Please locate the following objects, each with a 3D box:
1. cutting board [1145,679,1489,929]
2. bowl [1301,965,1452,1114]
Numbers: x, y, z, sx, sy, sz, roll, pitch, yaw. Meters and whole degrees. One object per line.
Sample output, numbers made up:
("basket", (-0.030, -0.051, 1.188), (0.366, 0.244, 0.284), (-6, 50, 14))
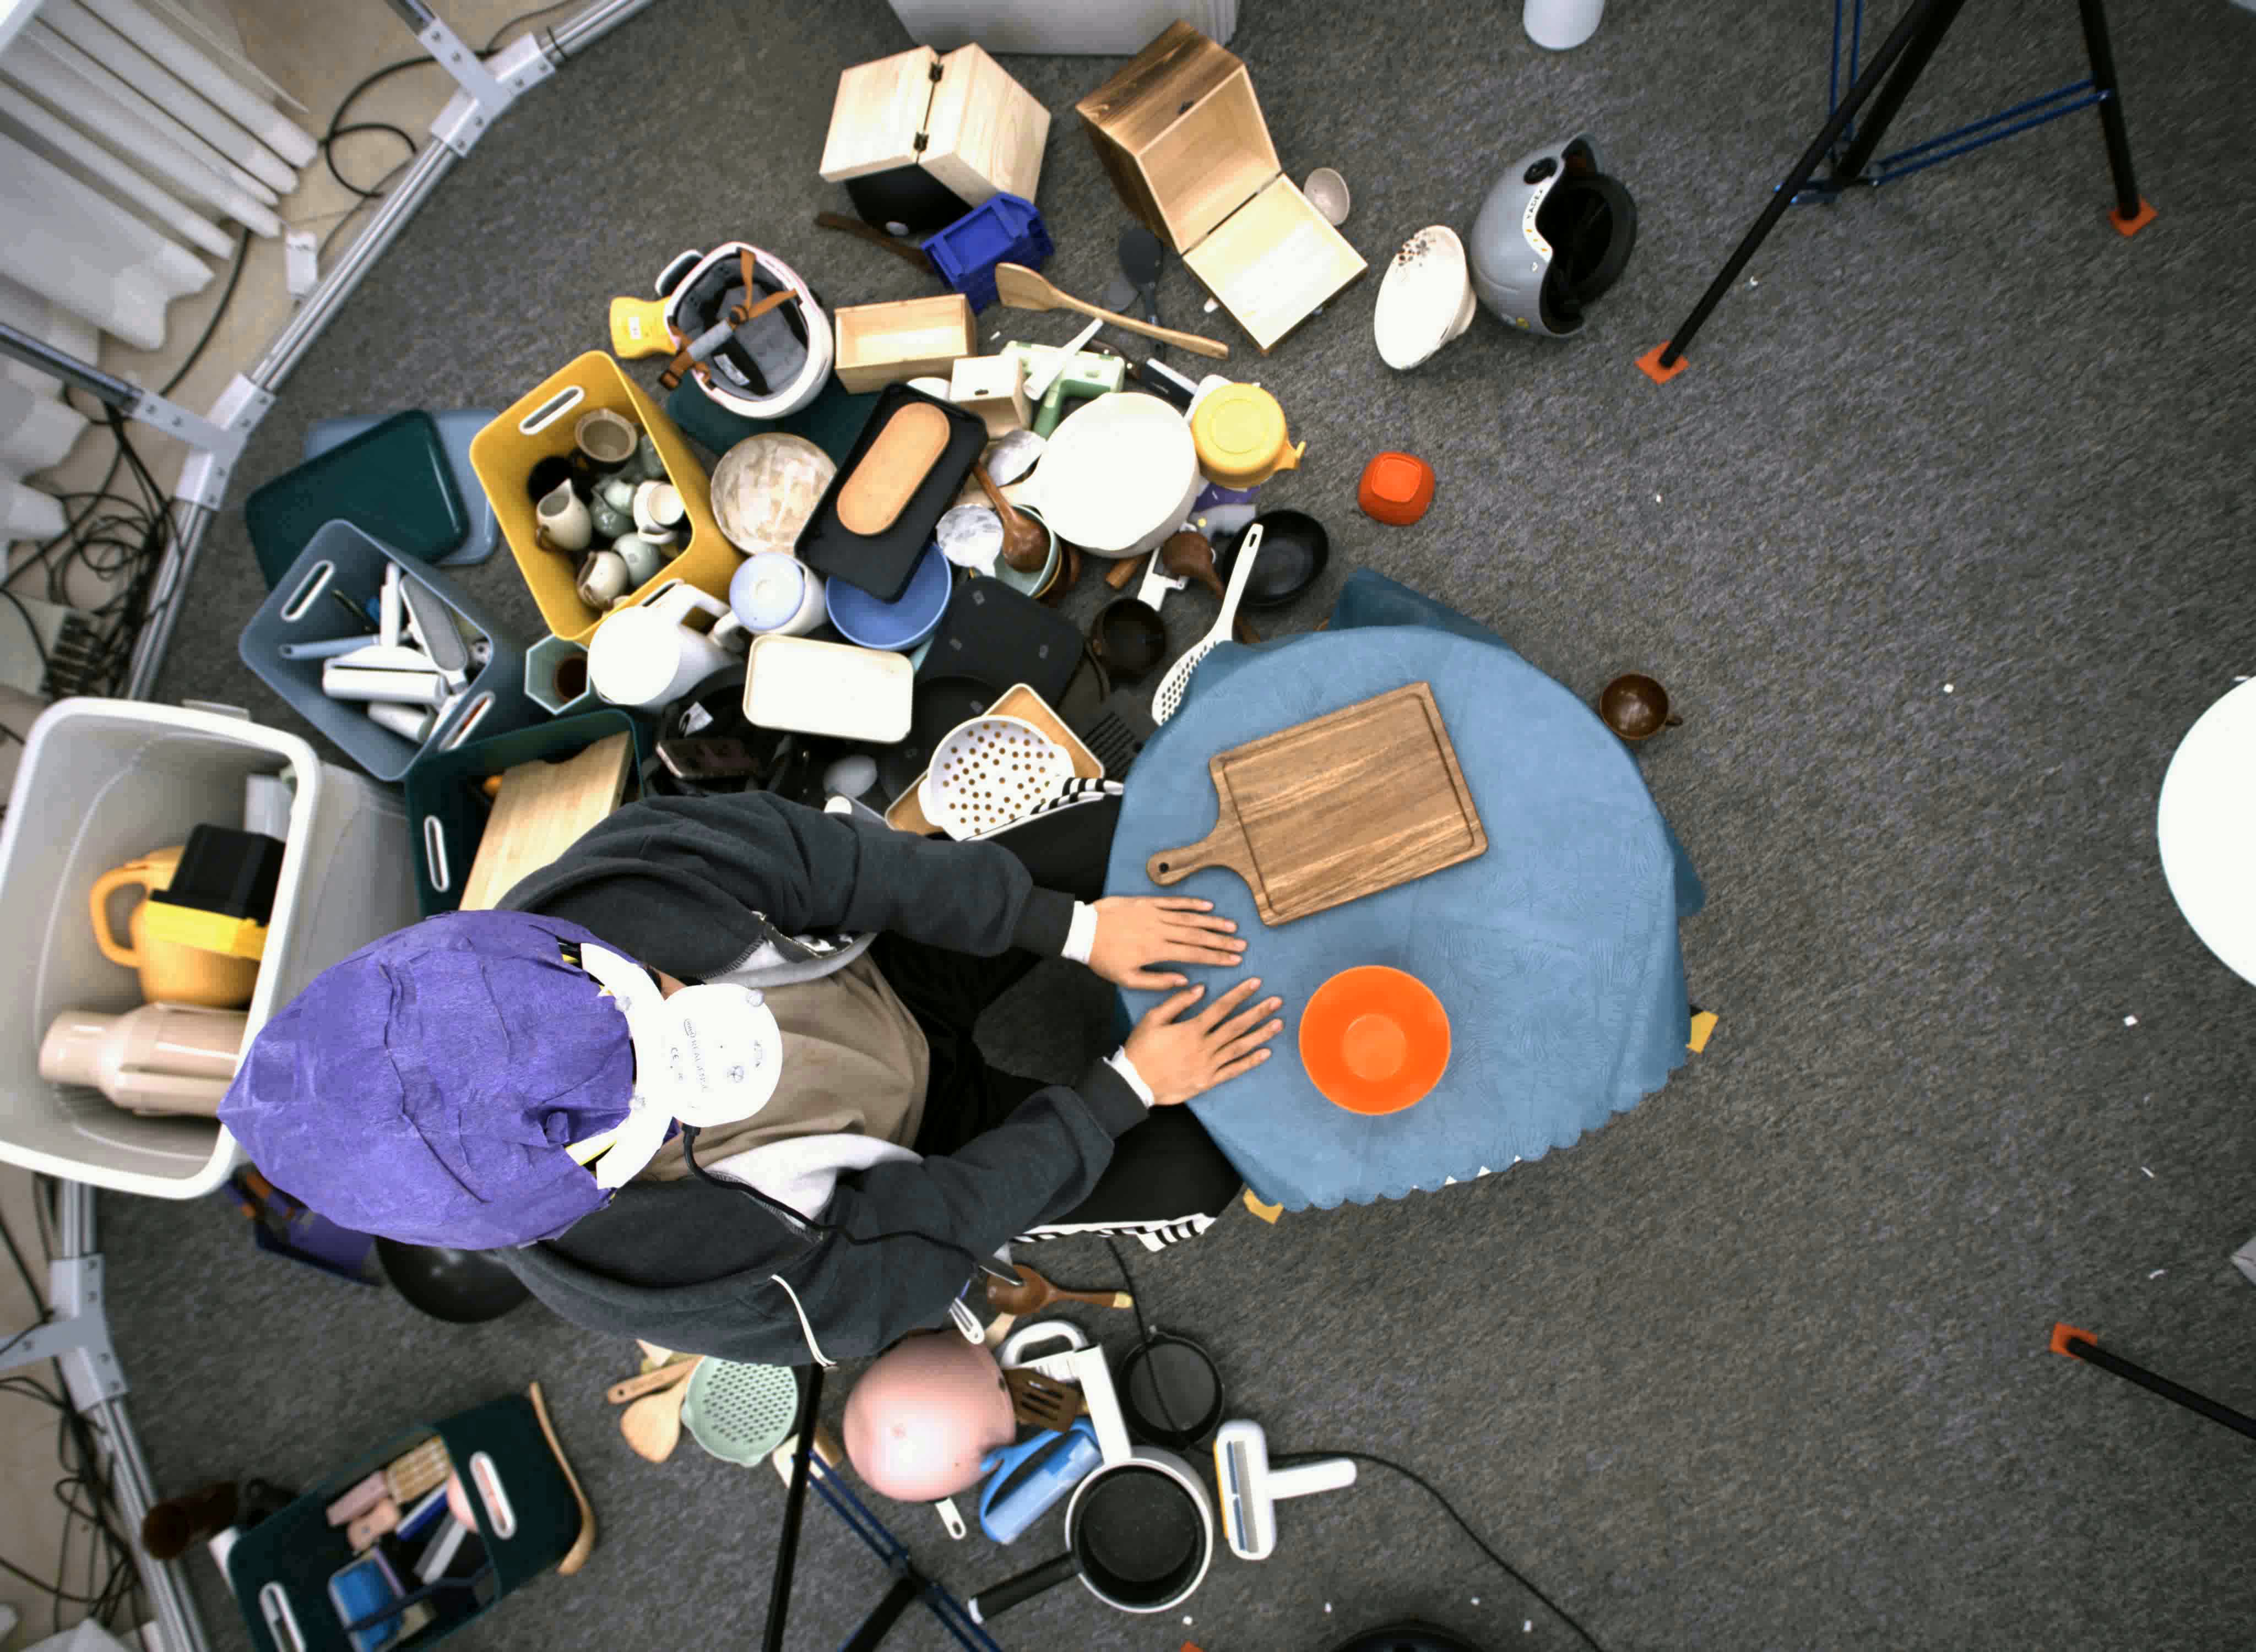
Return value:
("cutting board", (0.183, -0.008, 1.469), (0.354, 0.023, 0.200), (-20, 83, 9))
("bowl", (0.251, 0.214, 1.404), (0.148, 0.105, 0.147), (-1, 85, 9))
